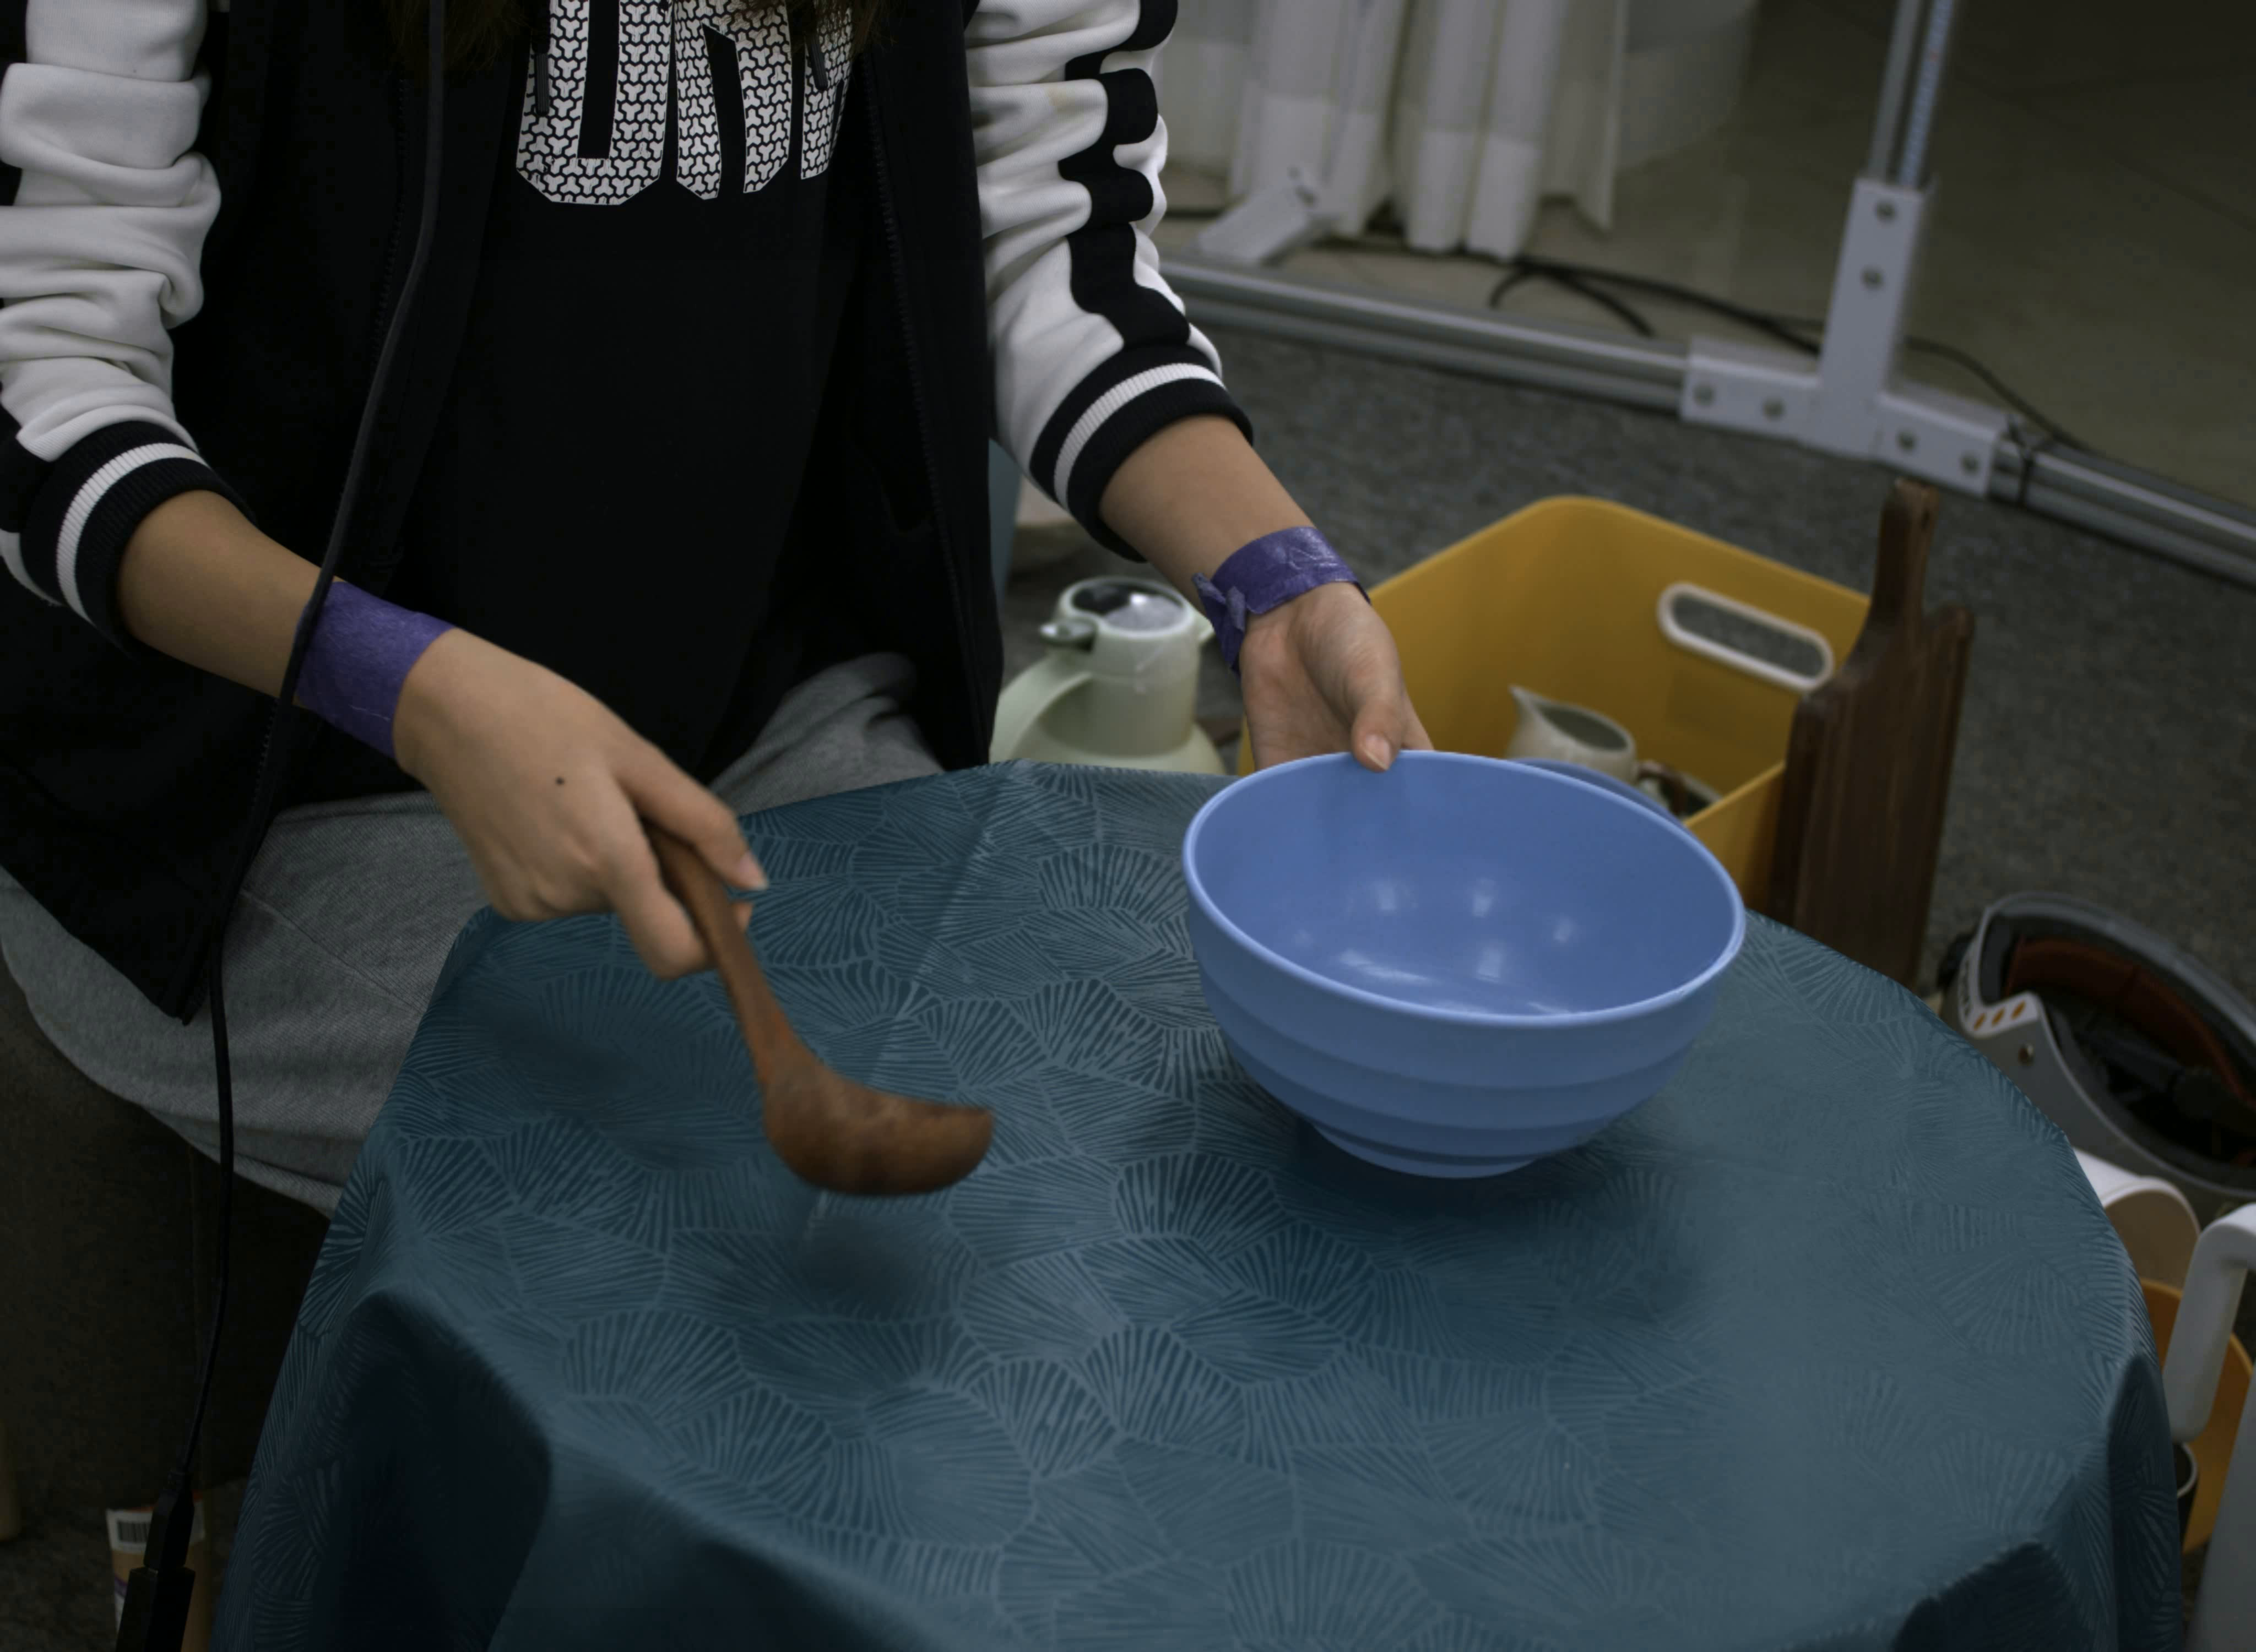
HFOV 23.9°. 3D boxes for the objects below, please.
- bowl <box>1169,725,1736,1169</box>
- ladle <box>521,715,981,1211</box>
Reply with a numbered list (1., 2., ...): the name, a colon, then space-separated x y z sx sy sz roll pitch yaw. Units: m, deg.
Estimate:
1. bowl: 0.108 0.055 1.857 0.196 0.095 0.198 3 33 -2
2. ladle: -0.131 0.035 1.771 0.076 0.065 0.262 5 40 -43
